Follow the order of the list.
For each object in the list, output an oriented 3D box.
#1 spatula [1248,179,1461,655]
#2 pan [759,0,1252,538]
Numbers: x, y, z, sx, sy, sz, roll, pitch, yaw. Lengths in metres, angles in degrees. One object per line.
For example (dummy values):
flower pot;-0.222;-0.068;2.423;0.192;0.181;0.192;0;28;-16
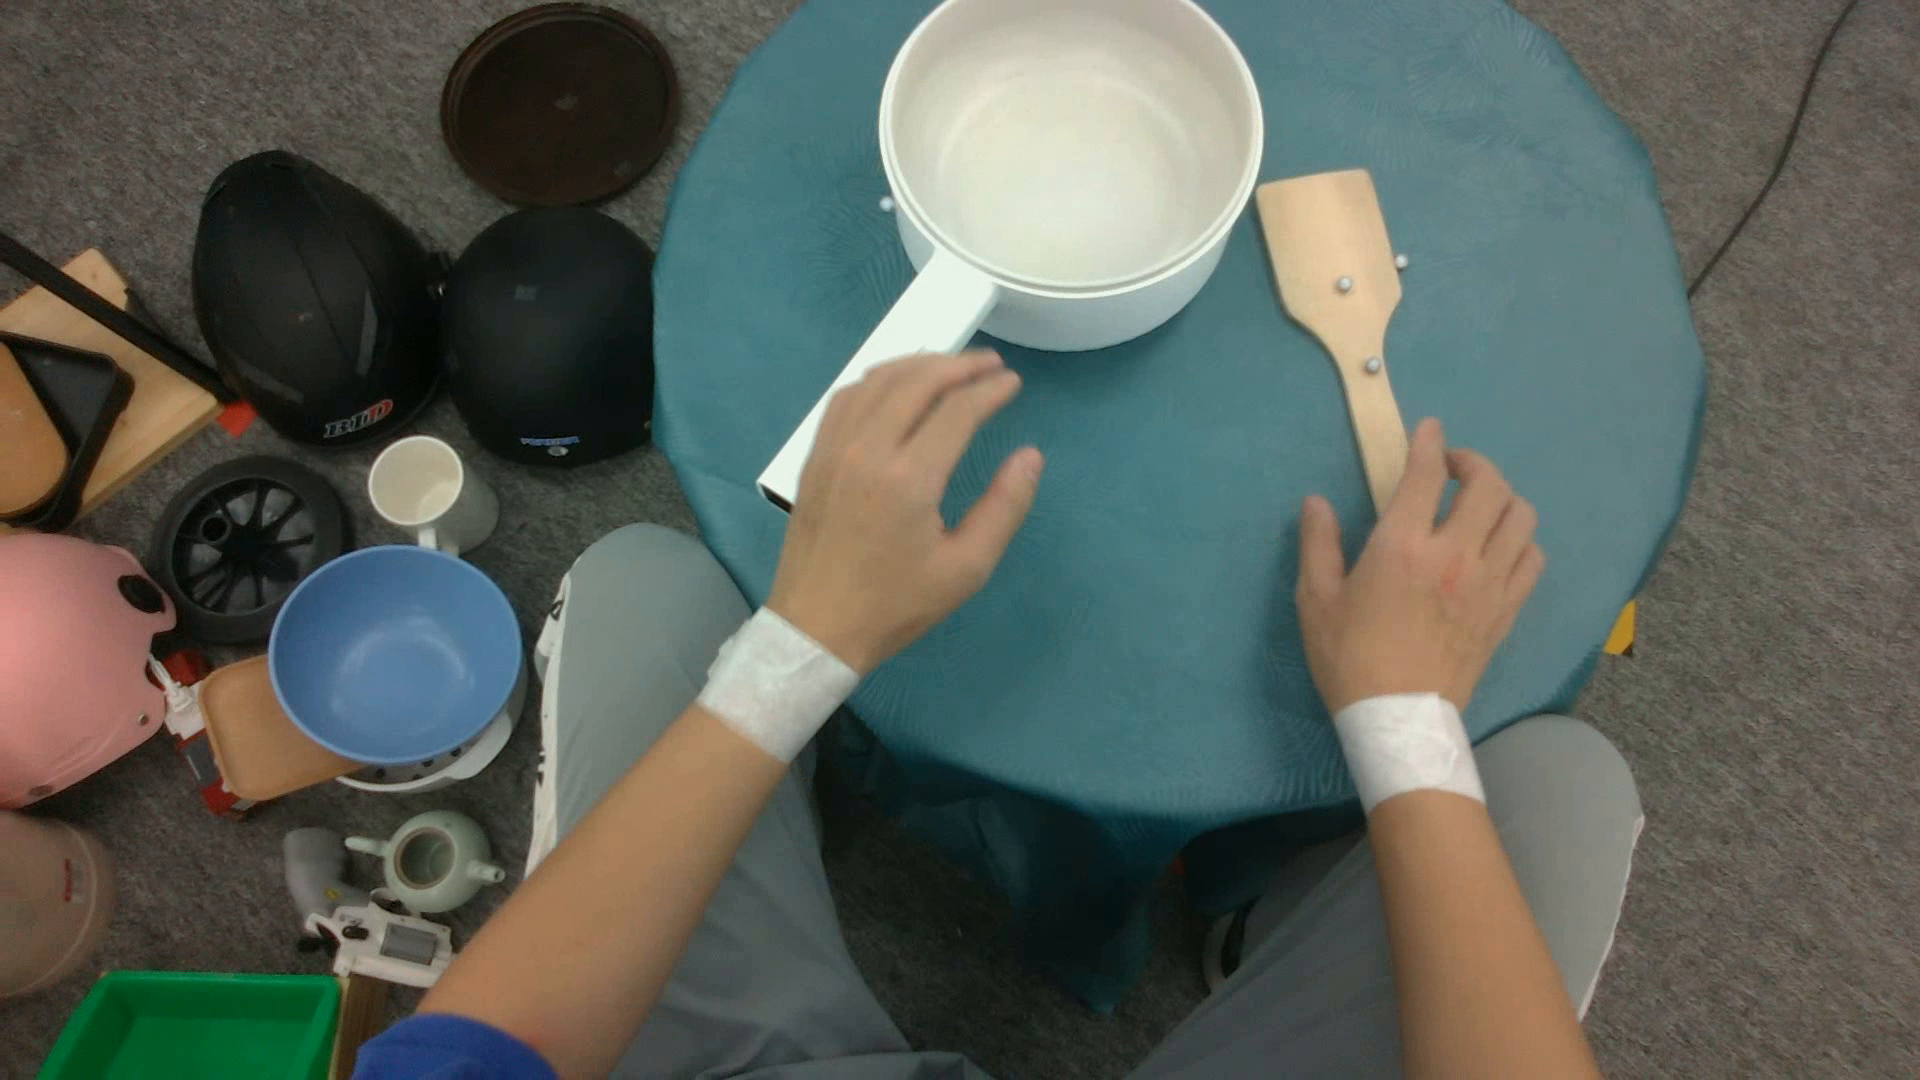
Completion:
spatula;0.232;-0.076;0.783;0.072;0.010;0.293;-10;72;-3
pan;0.015;-0.143;0.763;0.201;0.102;0.355;32;75;9
